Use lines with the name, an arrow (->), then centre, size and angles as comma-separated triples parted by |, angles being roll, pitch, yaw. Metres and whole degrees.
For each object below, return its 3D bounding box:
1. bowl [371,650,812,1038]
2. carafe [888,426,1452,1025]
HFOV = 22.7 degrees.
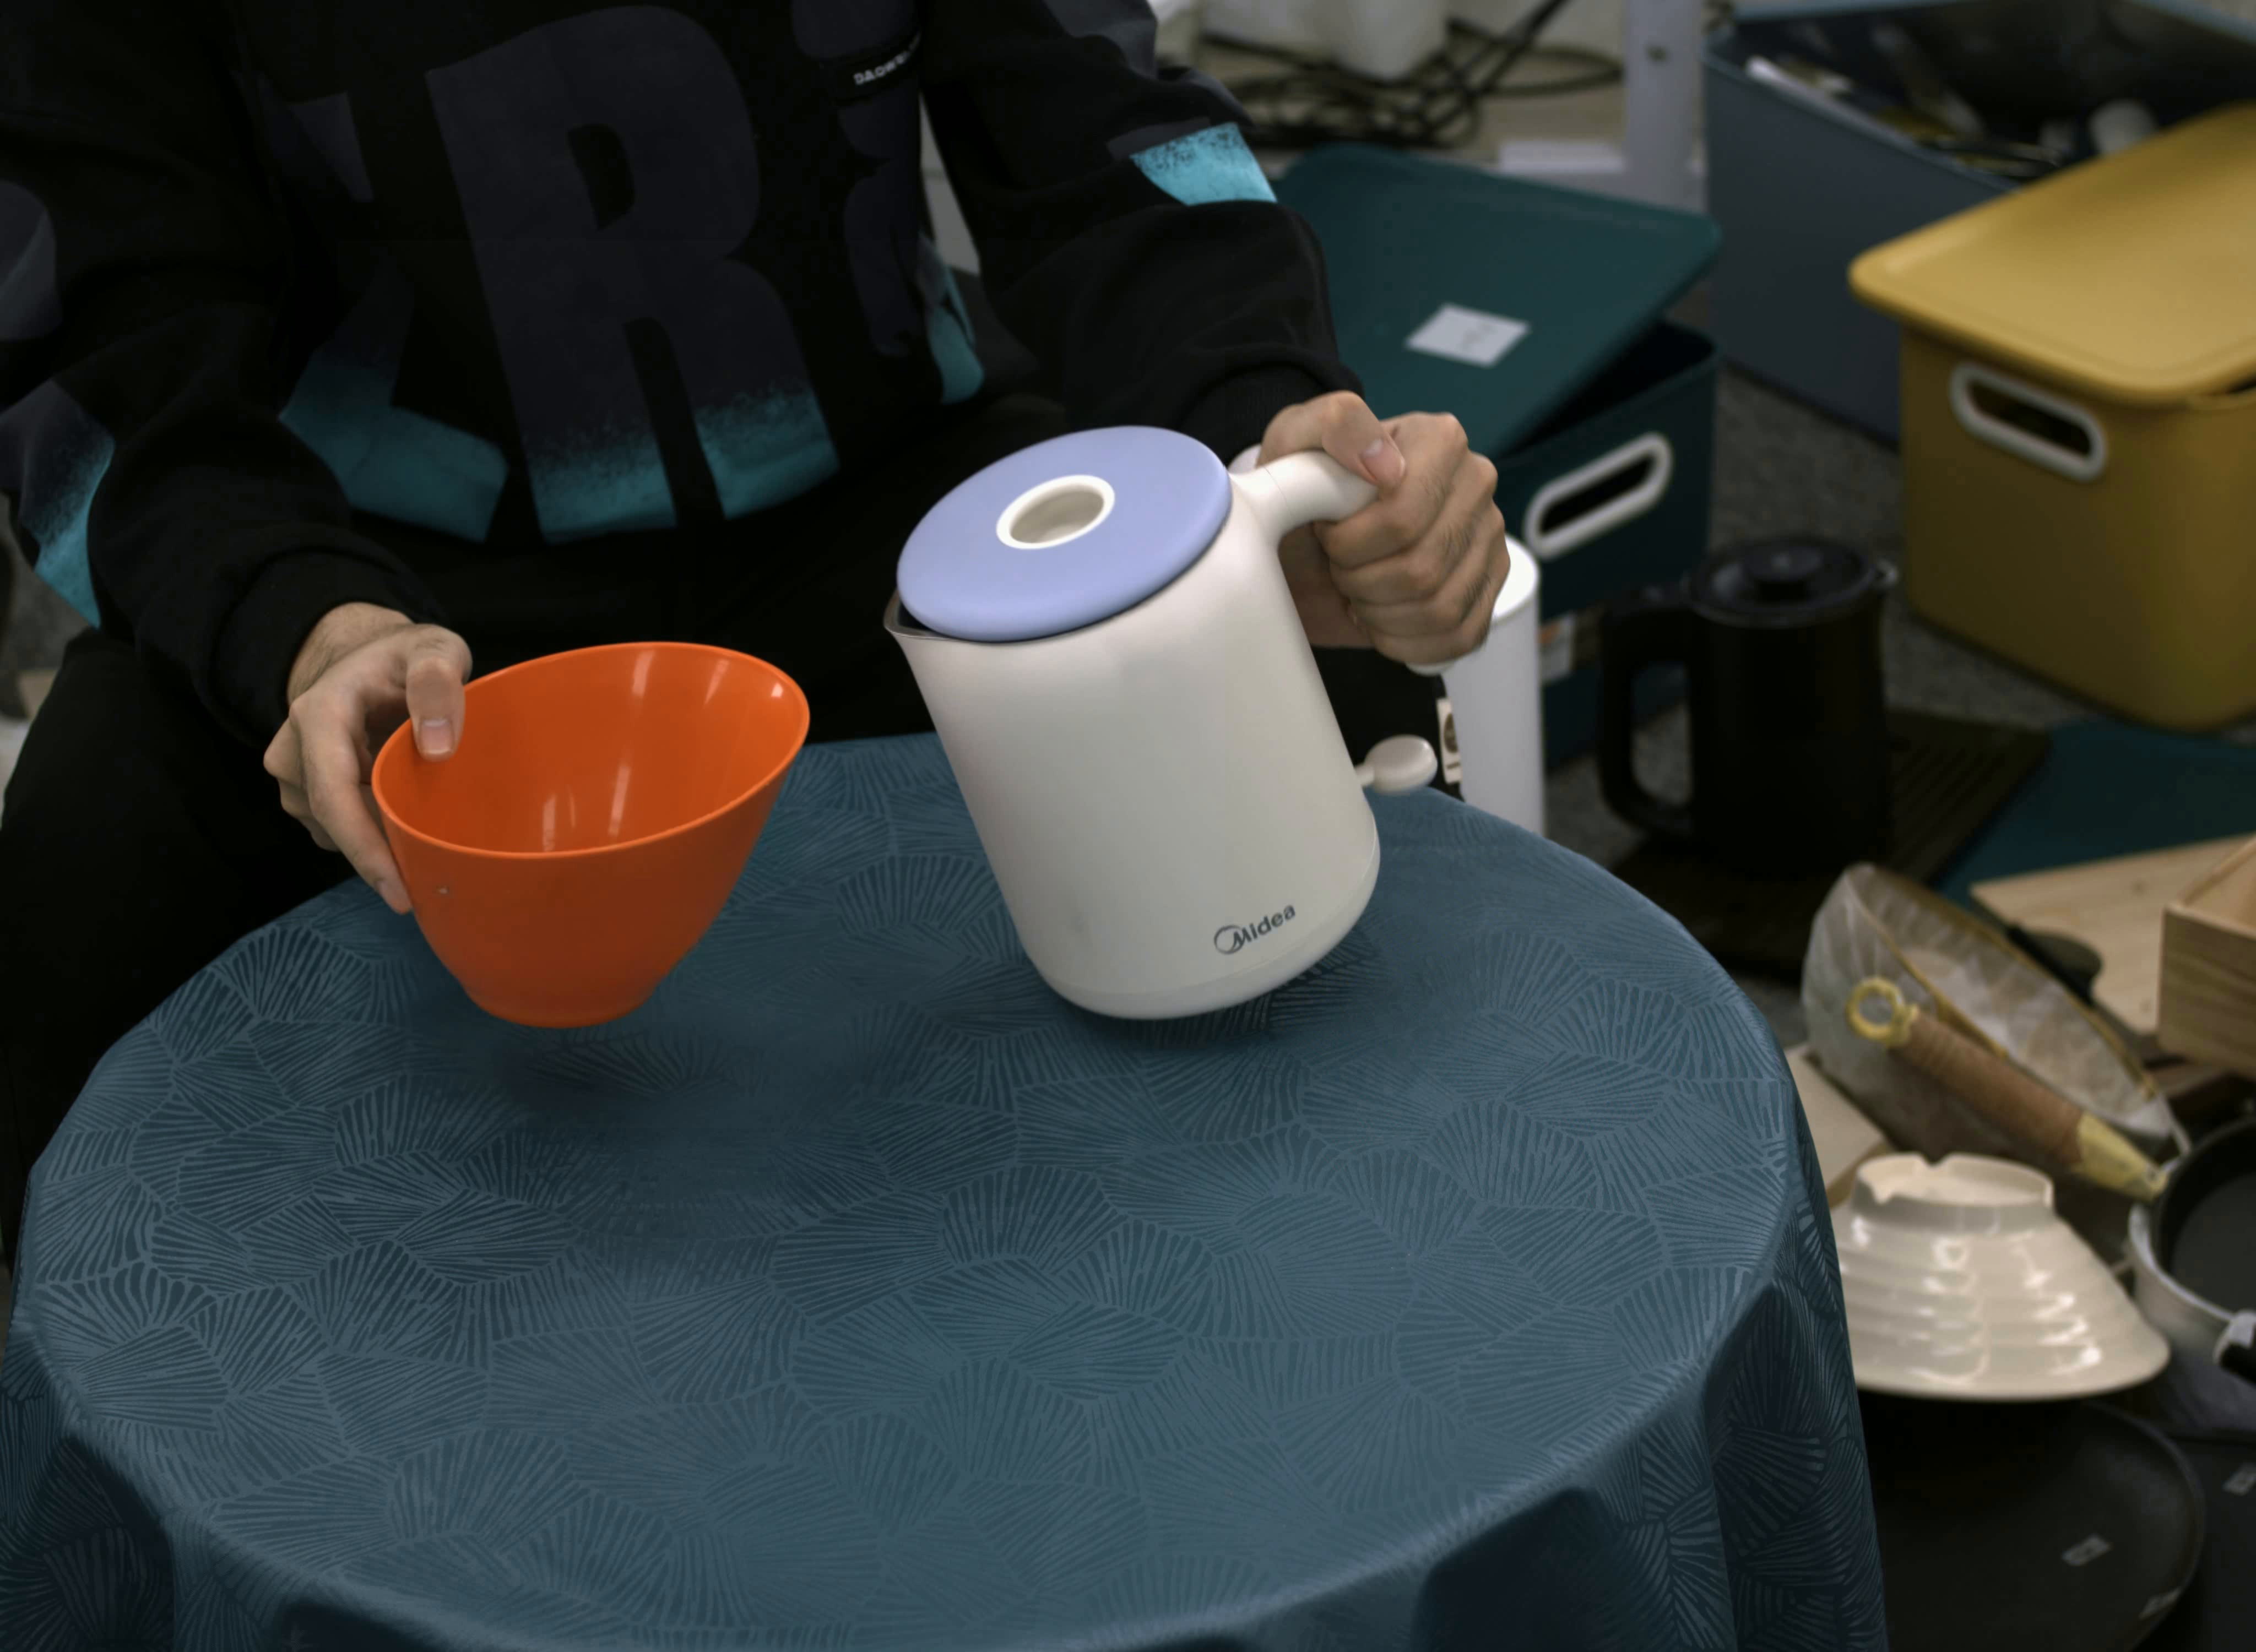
bowl -> -0.182, 0.011, 1.902 | 0.147, 0.103, 0.150 | 3, 27, -1
carafe -> 0.024, -0.045, 1.944 | 0.192, 0.180, 0.133 | -25, 33, -13
